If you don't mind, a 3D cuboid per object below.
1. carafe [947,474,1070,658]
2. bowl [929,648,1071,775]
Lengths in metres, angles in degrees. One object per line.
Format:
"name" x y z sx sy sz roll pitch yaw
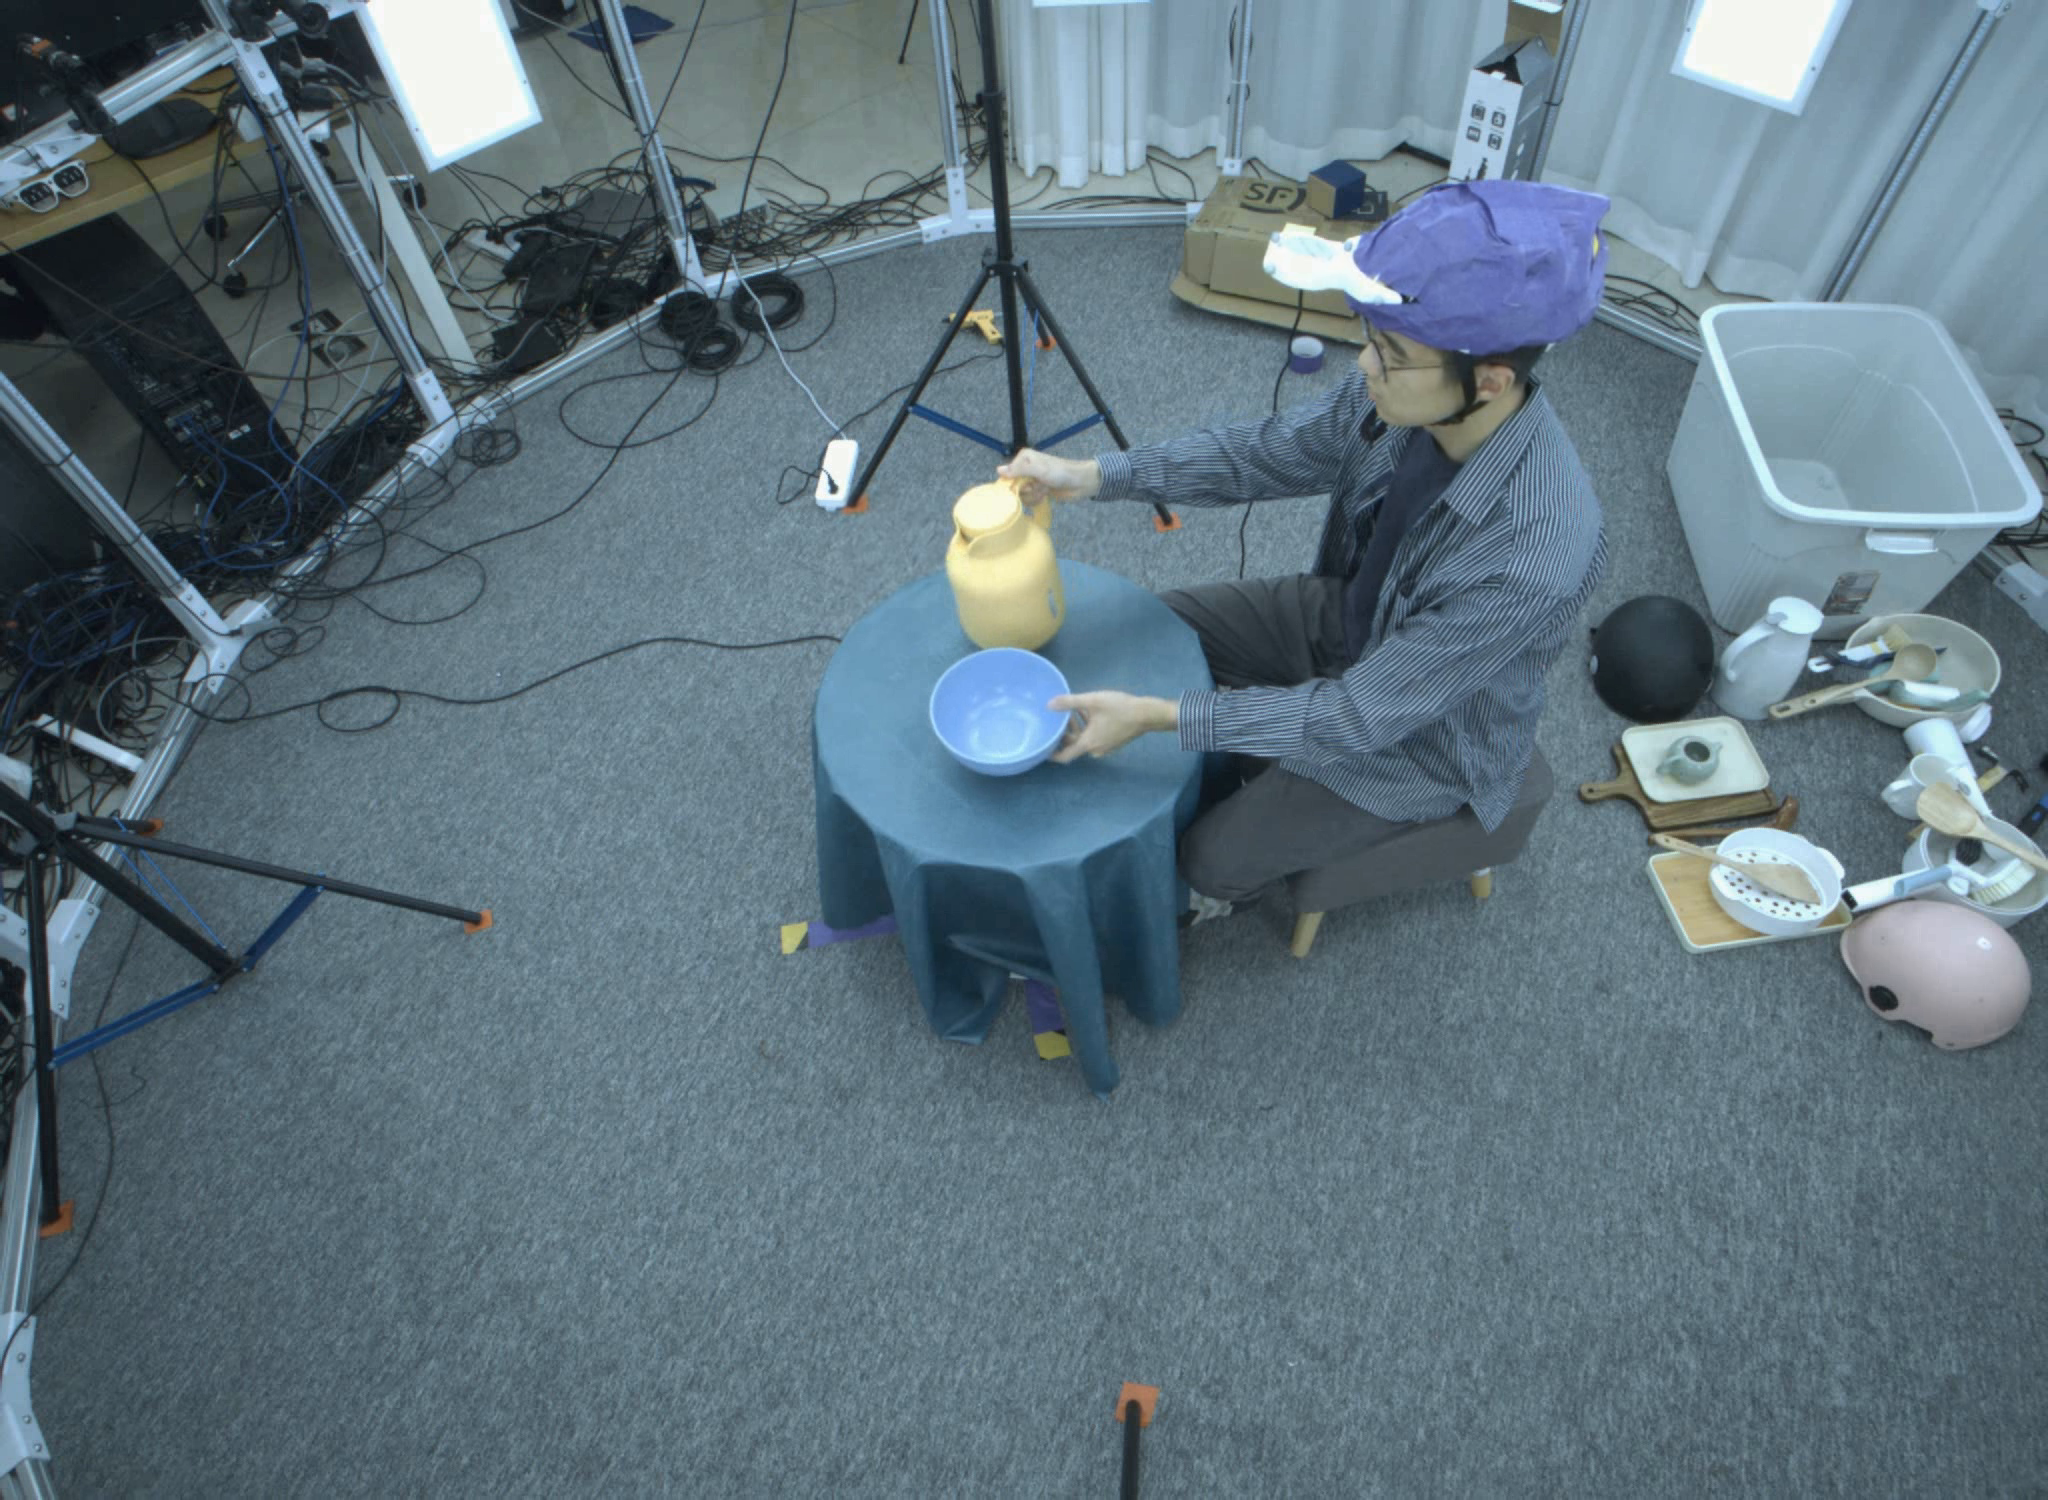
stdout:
"carafe" -0.019 -0.272 1.795 0.160 0.264 0.203 21 63 24
"bowl" -0.031 -0.039 1.739 0.196 0.096 0.194 -1 58 2
